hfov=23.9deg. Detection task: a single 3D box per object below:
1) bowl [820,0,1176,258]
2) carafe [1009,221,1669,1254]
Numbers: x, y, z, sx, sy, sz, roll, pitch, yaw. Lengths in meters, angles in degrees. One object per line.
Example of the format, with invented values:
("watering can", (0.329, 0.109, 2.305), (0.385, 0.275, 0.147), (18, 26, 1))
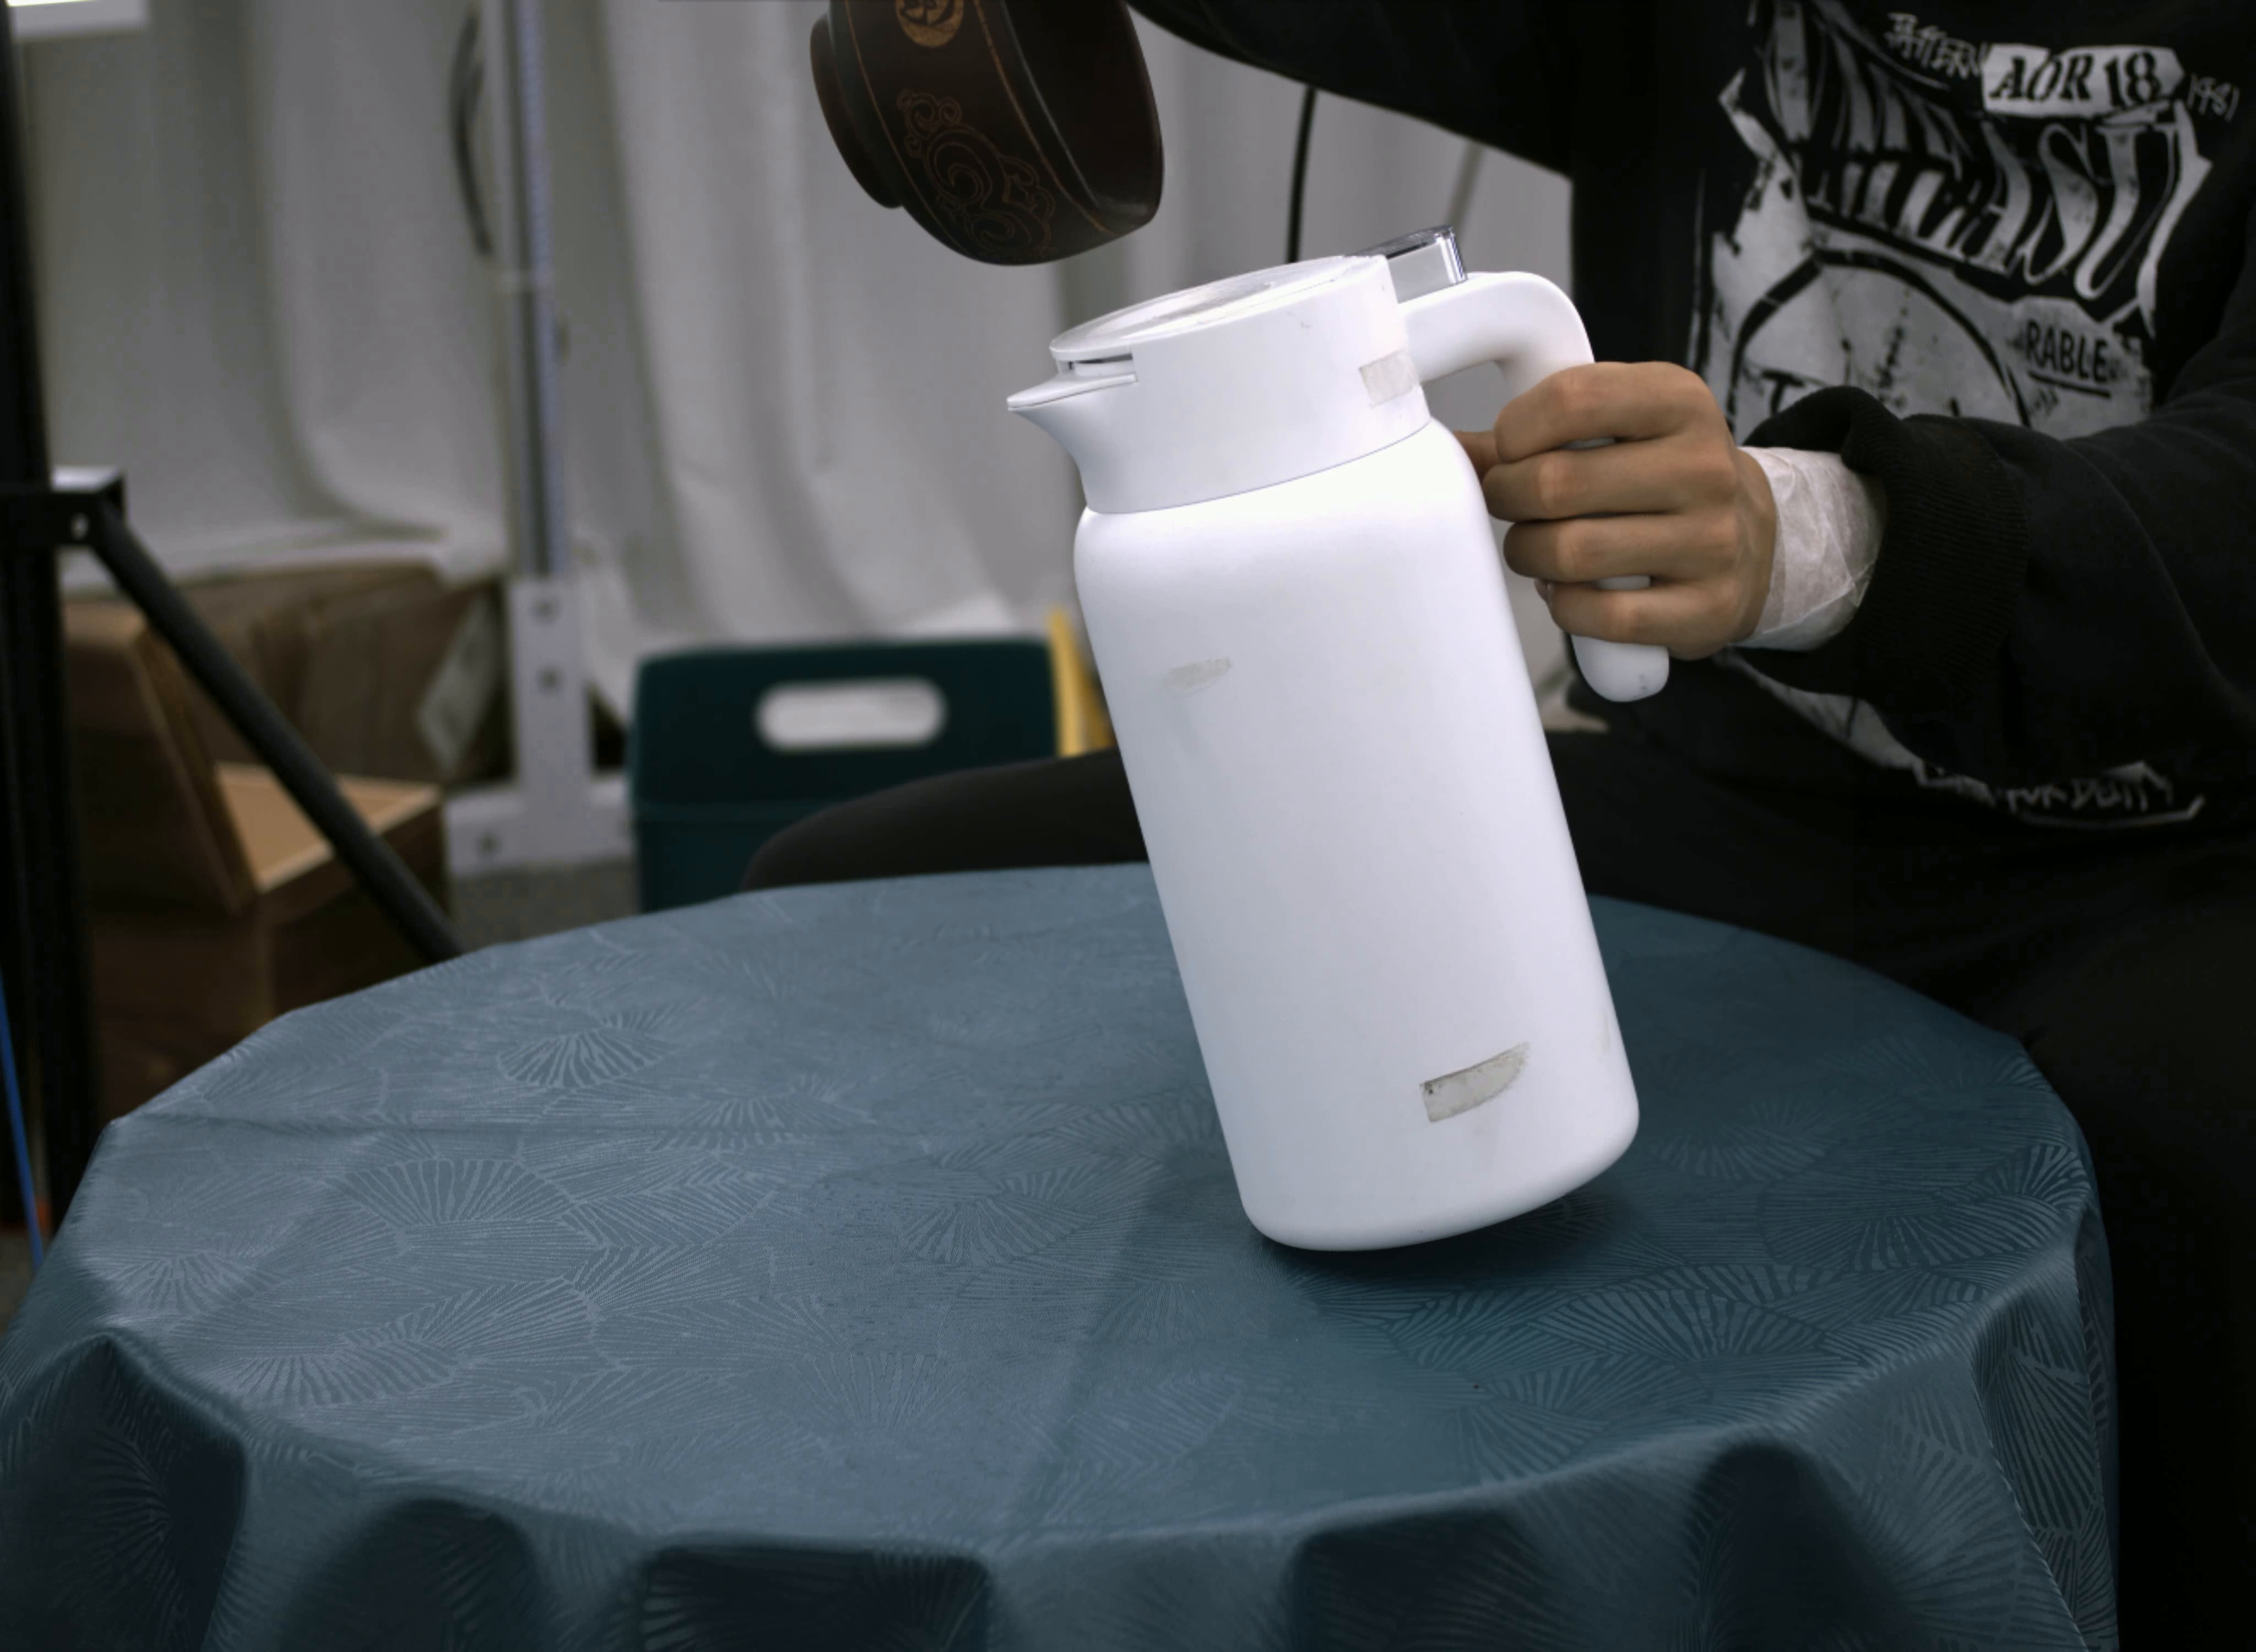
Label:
("bowl", (-0.042, -0.211, 1.479), (0.070, 0.118, 0.117), (-19, 10, 19))
("carafe", (0.074, -0.027, 1.498), (0.170, 0.269, 0.126), (-19, 9, -22))
